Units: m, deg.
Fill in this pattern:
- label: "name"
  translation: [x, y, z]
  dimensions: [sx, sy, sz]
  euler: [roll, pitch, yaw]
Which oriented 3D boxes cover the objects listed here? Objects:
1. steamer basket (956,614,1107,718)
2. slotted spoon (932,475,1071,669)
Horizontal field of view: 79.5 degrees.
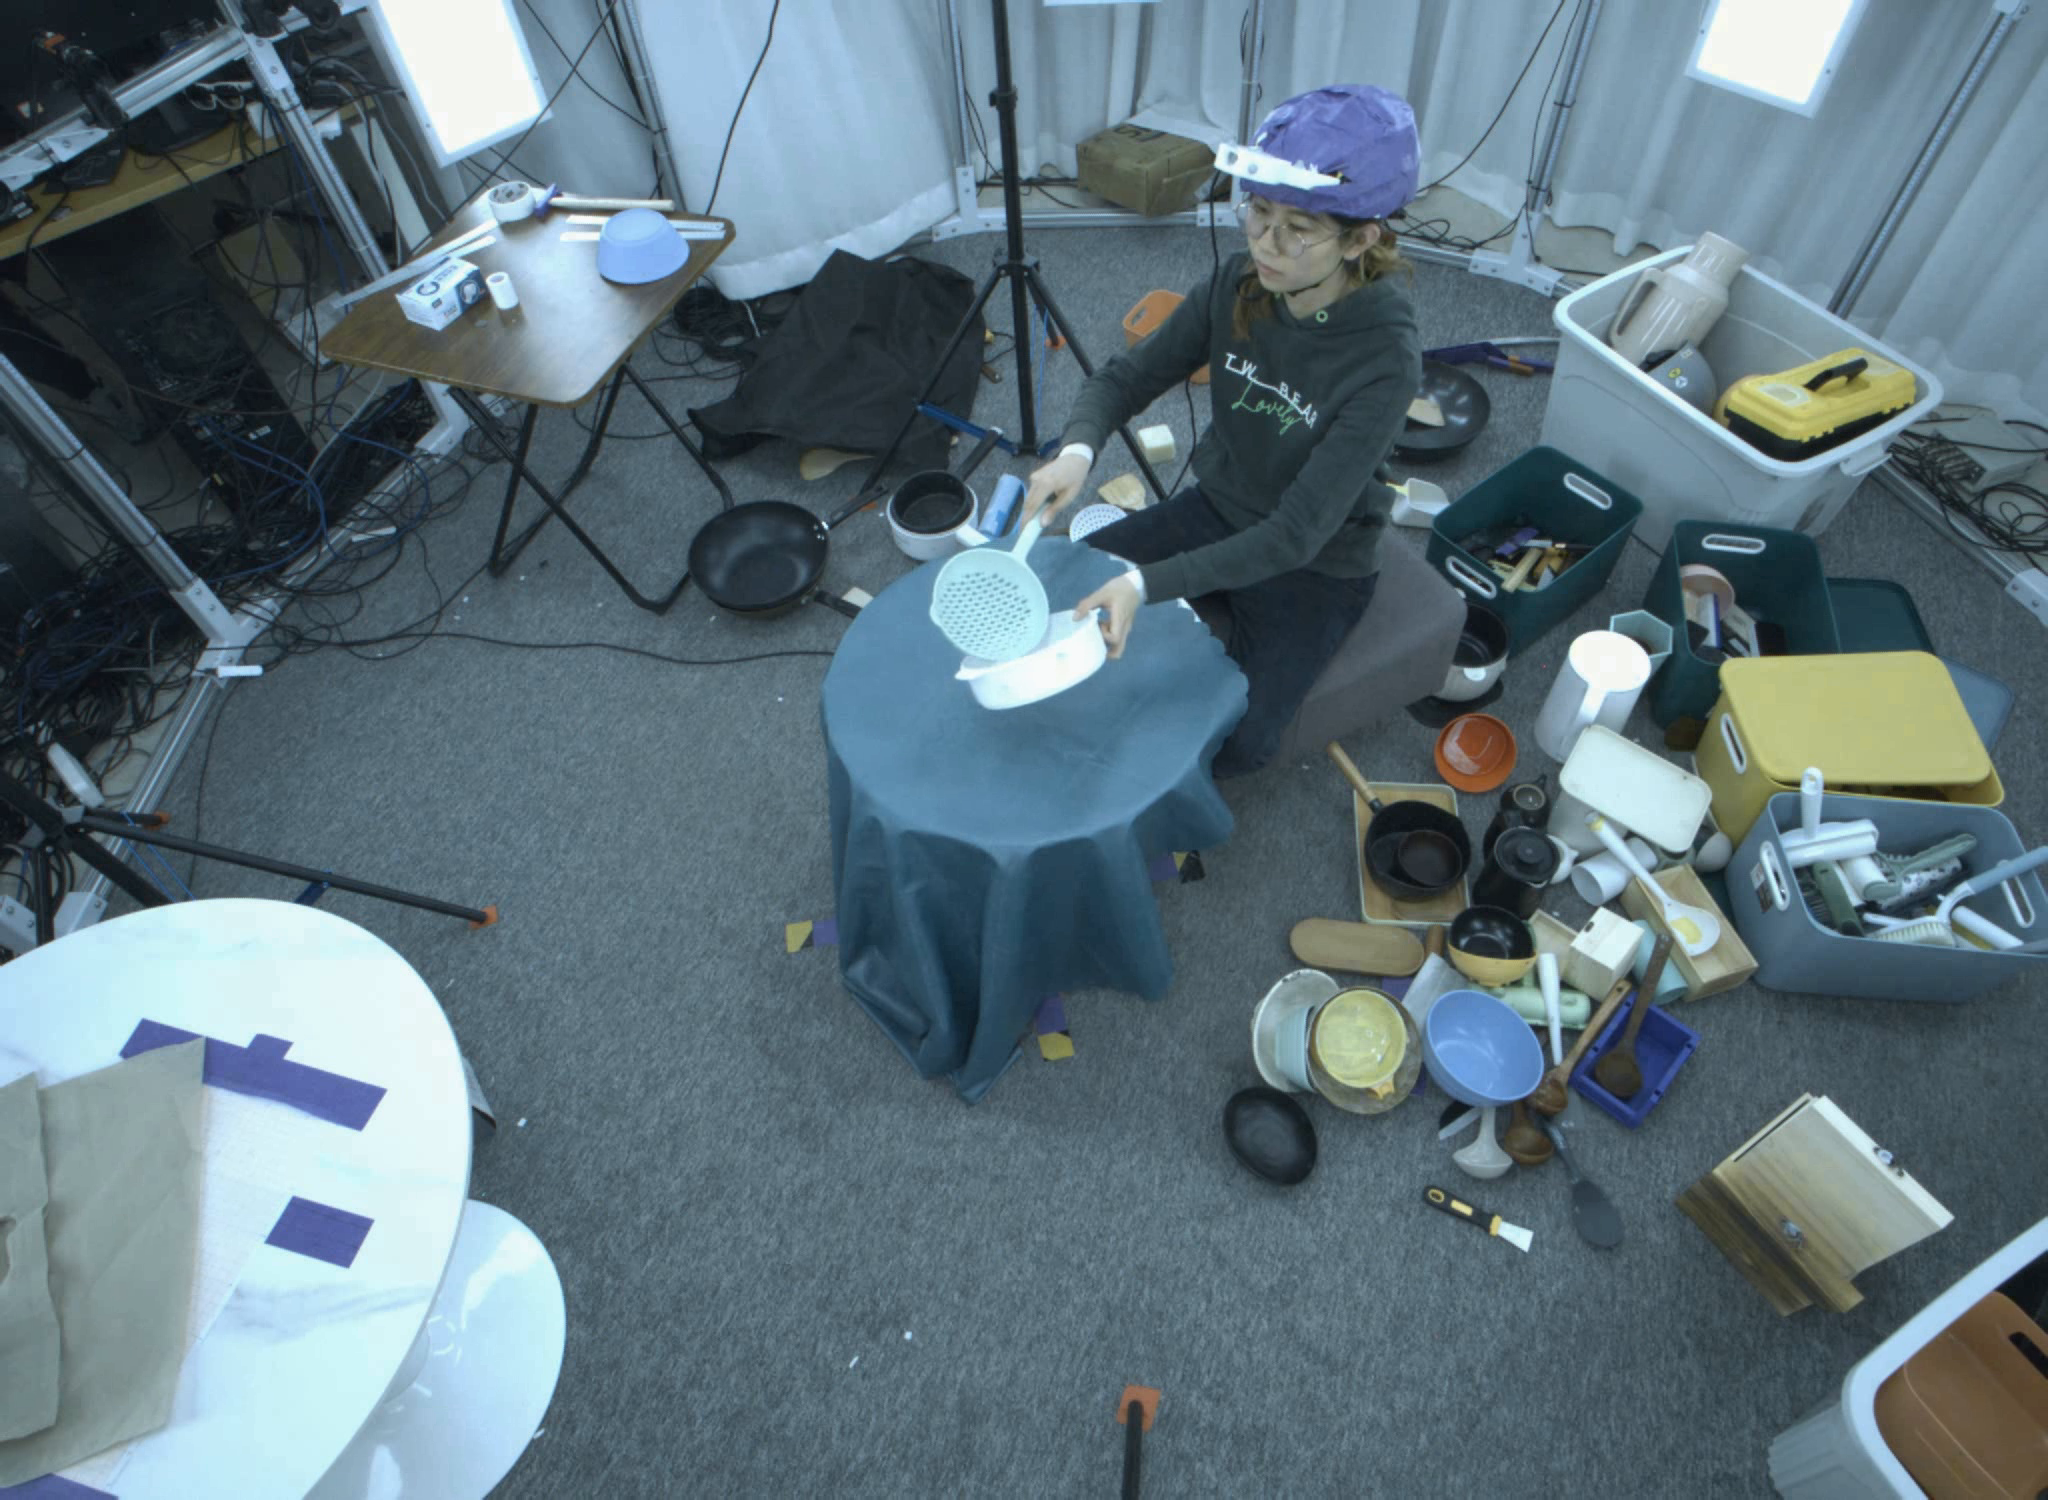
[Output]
- label: "steamer basket"
  translation: [0.016, -0.114, 1.700]
  dimensions: [0.233, 0.070, 0.197]
  euler: [-31, 22, -25]
- label: "slotted spoon"
  translation: [-0.007, -0.273, 1.763]
  dimensions: [0.171, 0.074, 0.359]
  euler: [31, 72, -11]
